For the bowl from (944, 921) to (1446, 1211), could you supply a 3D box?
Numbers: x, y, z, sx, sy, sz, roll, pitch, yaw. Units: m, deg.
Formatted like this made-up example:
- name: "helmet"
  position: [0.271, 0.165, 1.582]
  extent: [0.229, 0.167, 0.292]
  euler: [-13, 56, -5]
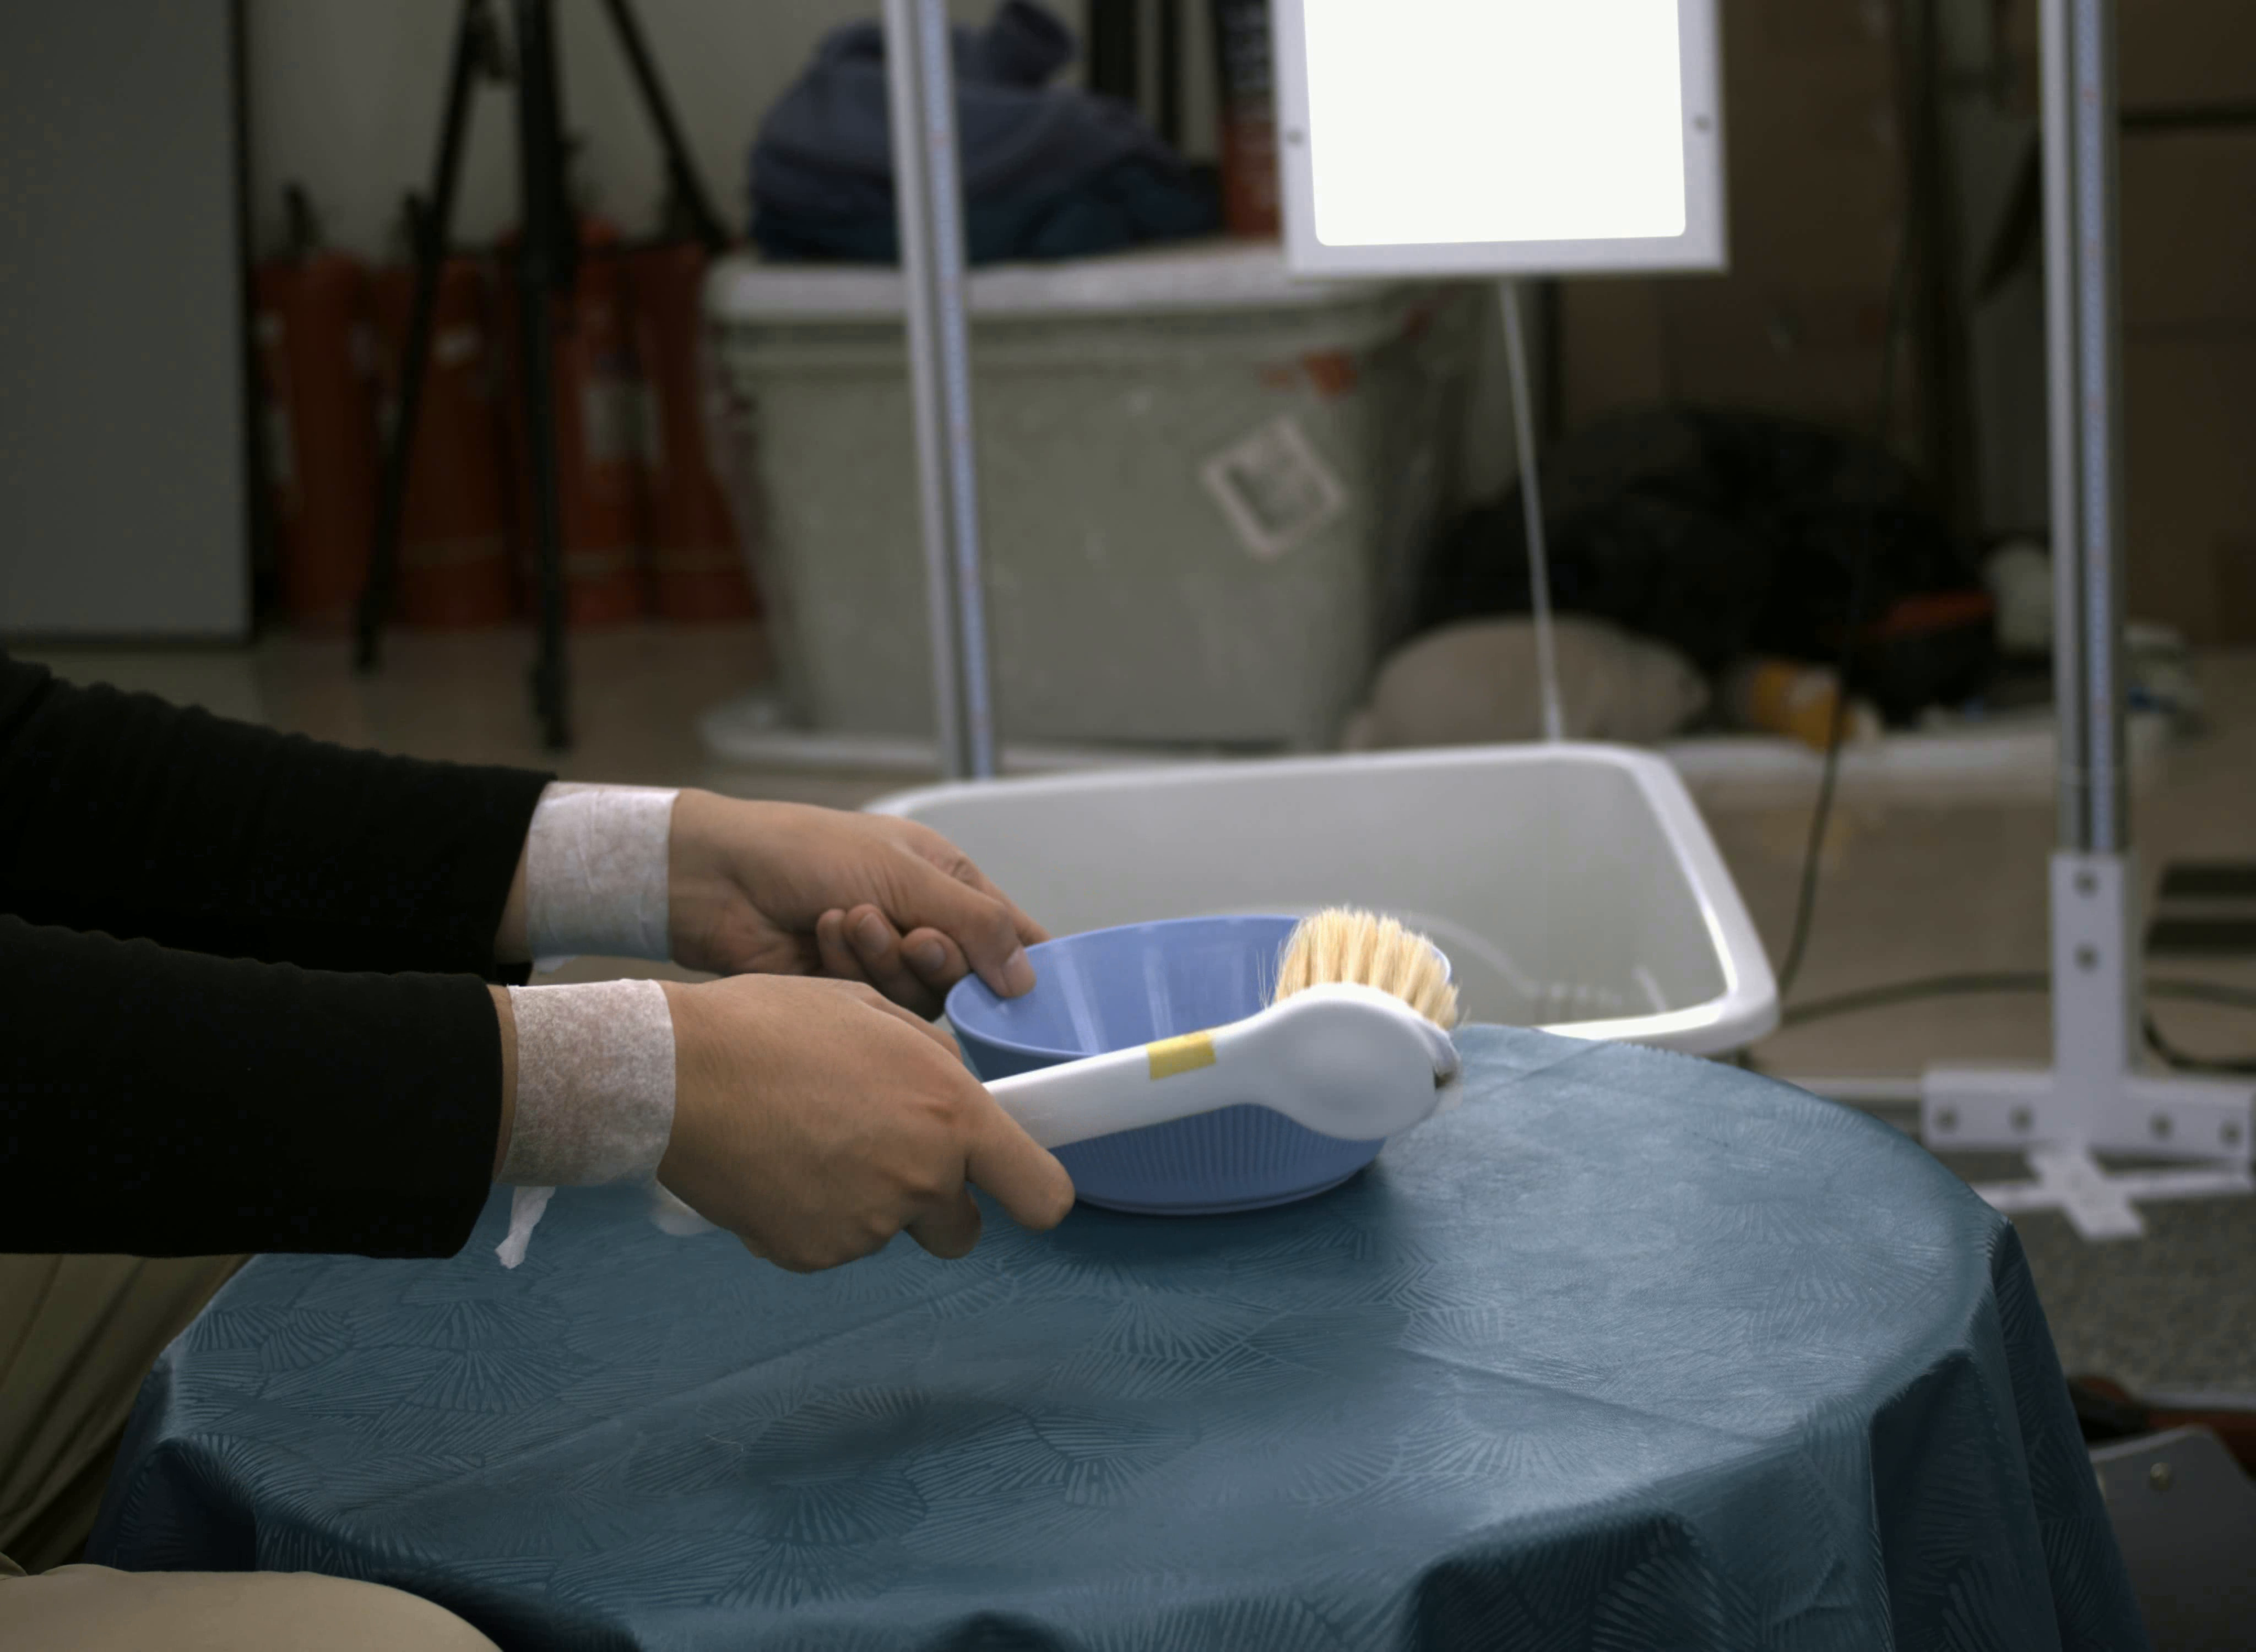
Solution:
- name: "bowl"
  position: [0.025, 0.085, 1.907]
  extent: [0.175, 0.070, 0.176]
  euler: [-5, 13, 0]

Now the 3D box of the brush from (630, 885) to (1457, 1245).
- name: "brush"
  position: [-0.027, 0.078, 1.714]
  extent: [0.265, 0.068, 0.056]
  euler: [-12, 32, -1]
